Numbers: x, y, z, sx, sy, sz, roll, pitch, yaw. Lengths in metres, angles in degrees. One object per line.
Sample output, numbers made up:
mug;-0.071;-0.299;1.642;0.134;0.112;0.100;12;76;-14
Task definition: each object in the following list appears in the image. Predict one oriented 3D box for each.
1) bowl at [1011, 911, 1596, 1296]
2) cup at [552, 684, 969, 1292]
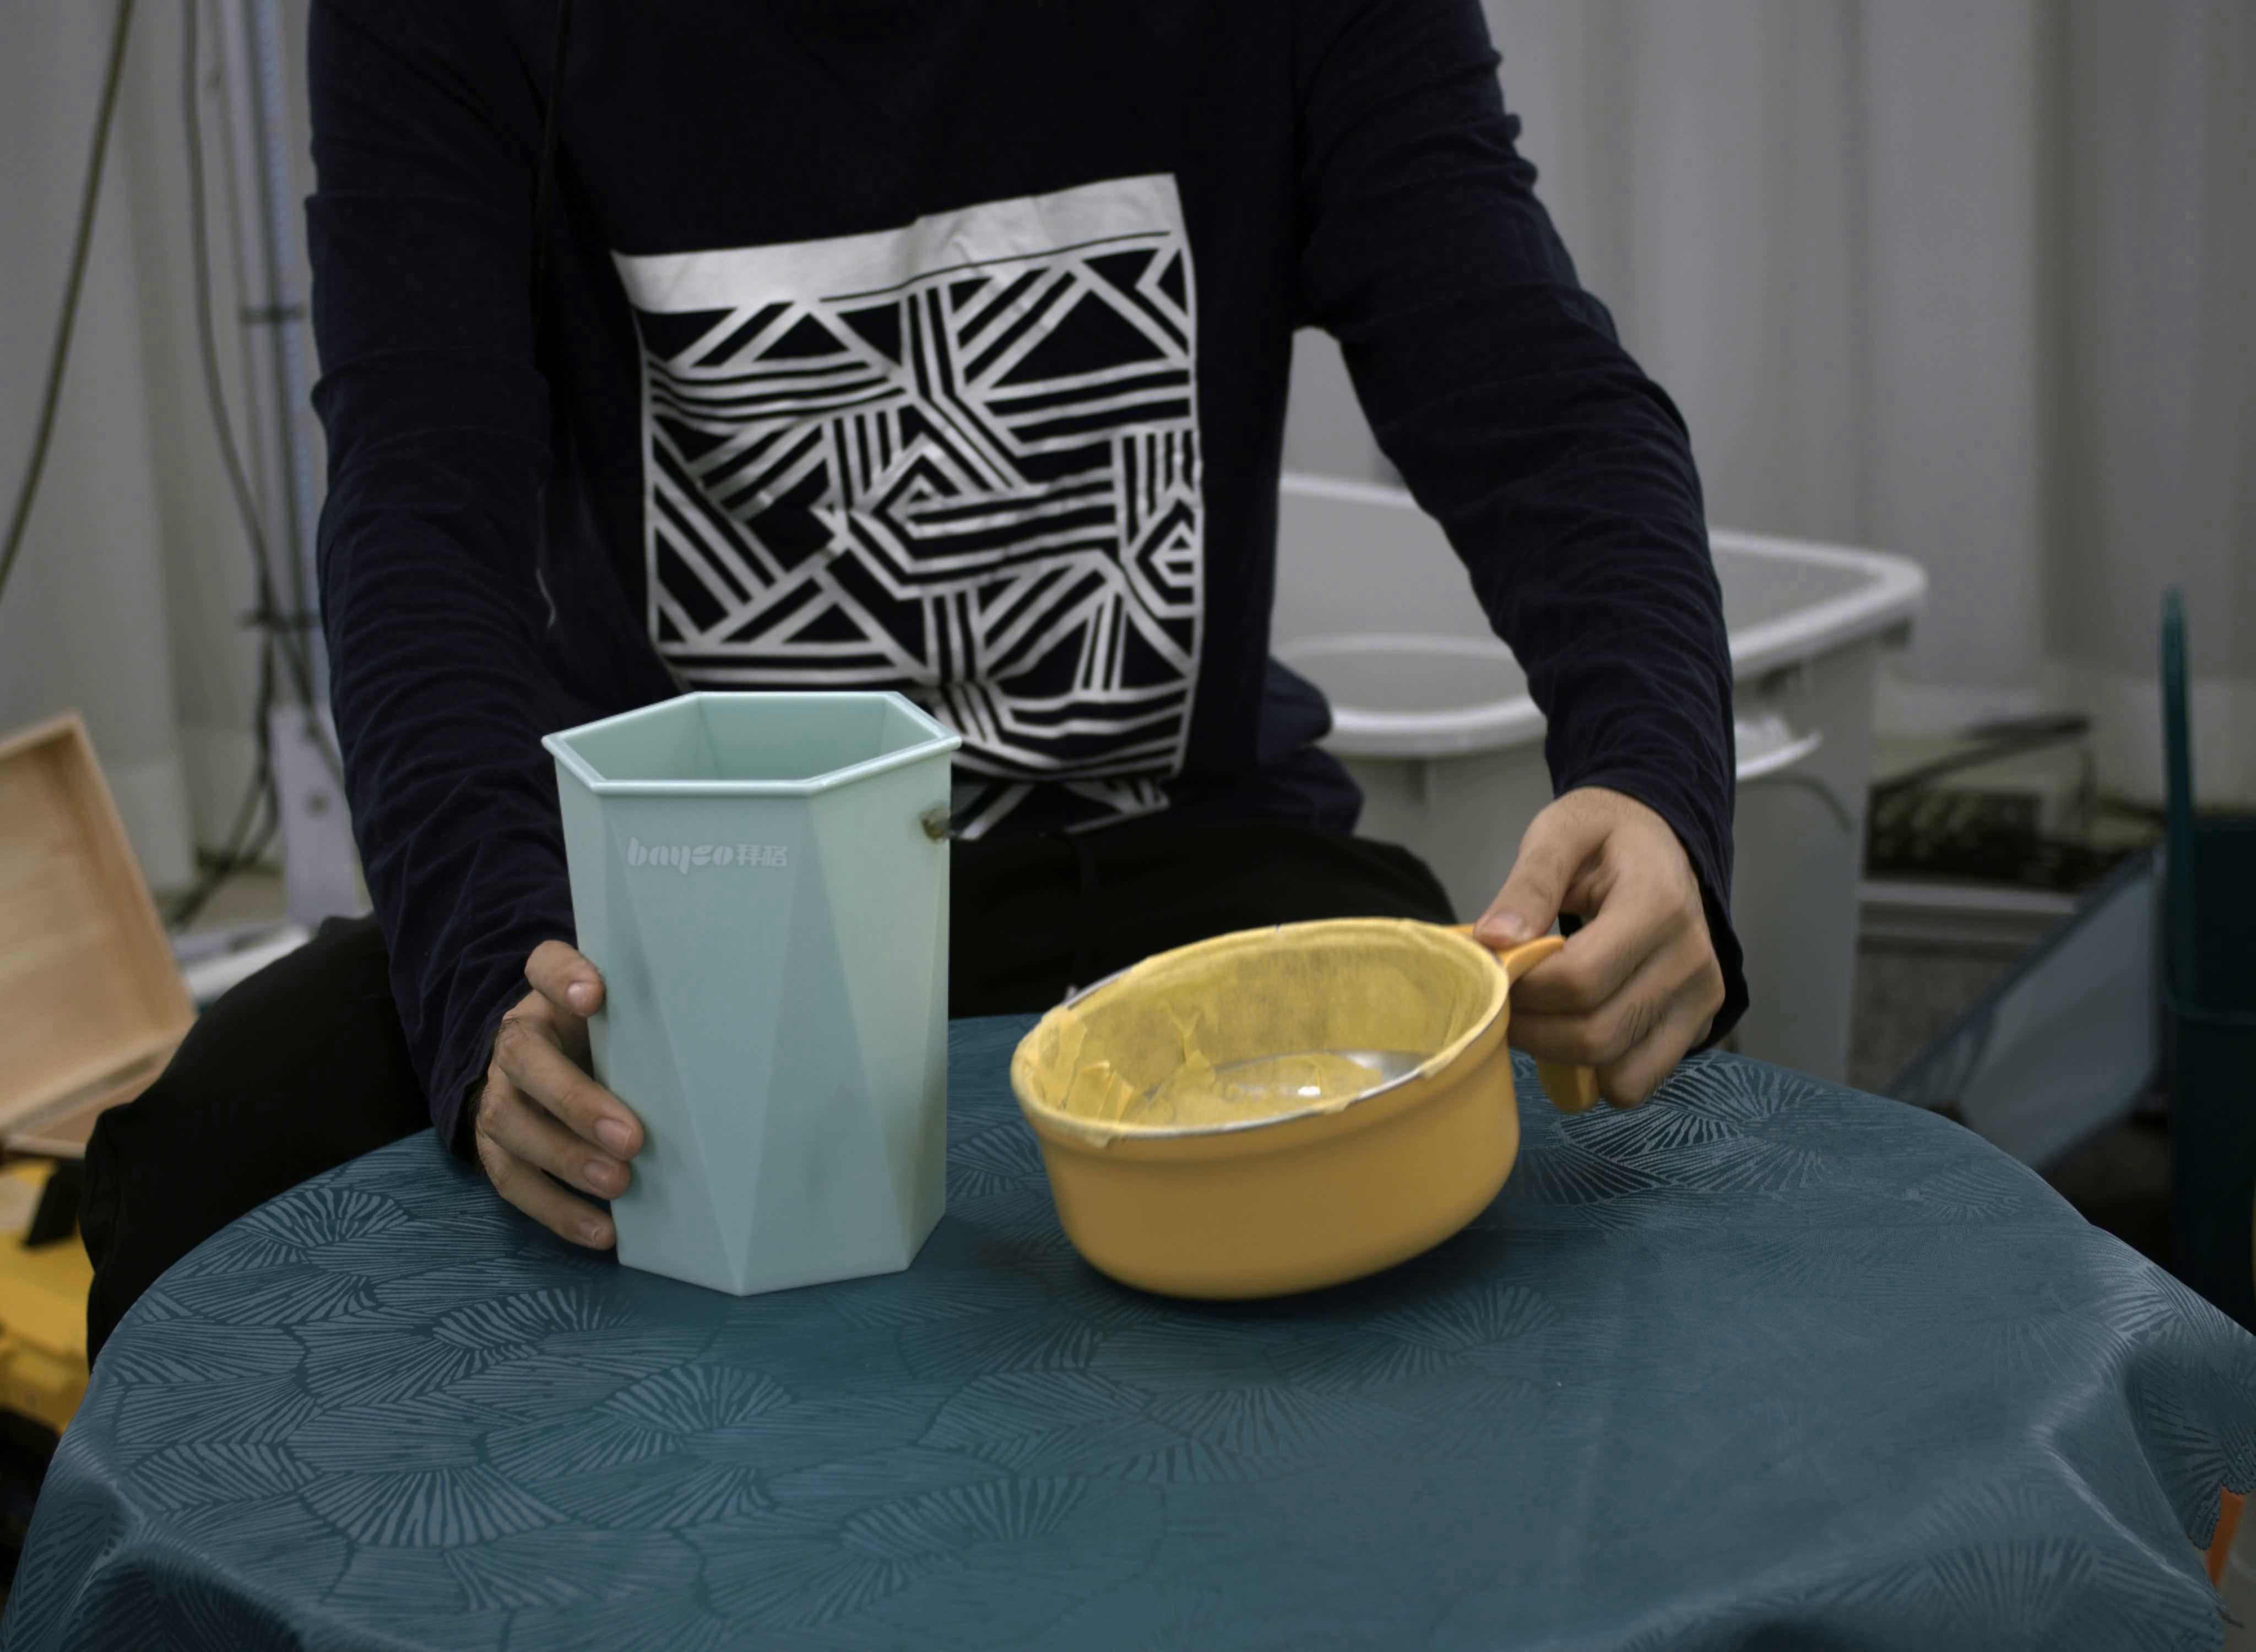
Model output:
bowl;0.058;0.081;1.646;0.179;0.074;0.154;-23;20;-26
cup;-0.109;0.049;1.666;0.131;0.162;0.116;0;13;10
